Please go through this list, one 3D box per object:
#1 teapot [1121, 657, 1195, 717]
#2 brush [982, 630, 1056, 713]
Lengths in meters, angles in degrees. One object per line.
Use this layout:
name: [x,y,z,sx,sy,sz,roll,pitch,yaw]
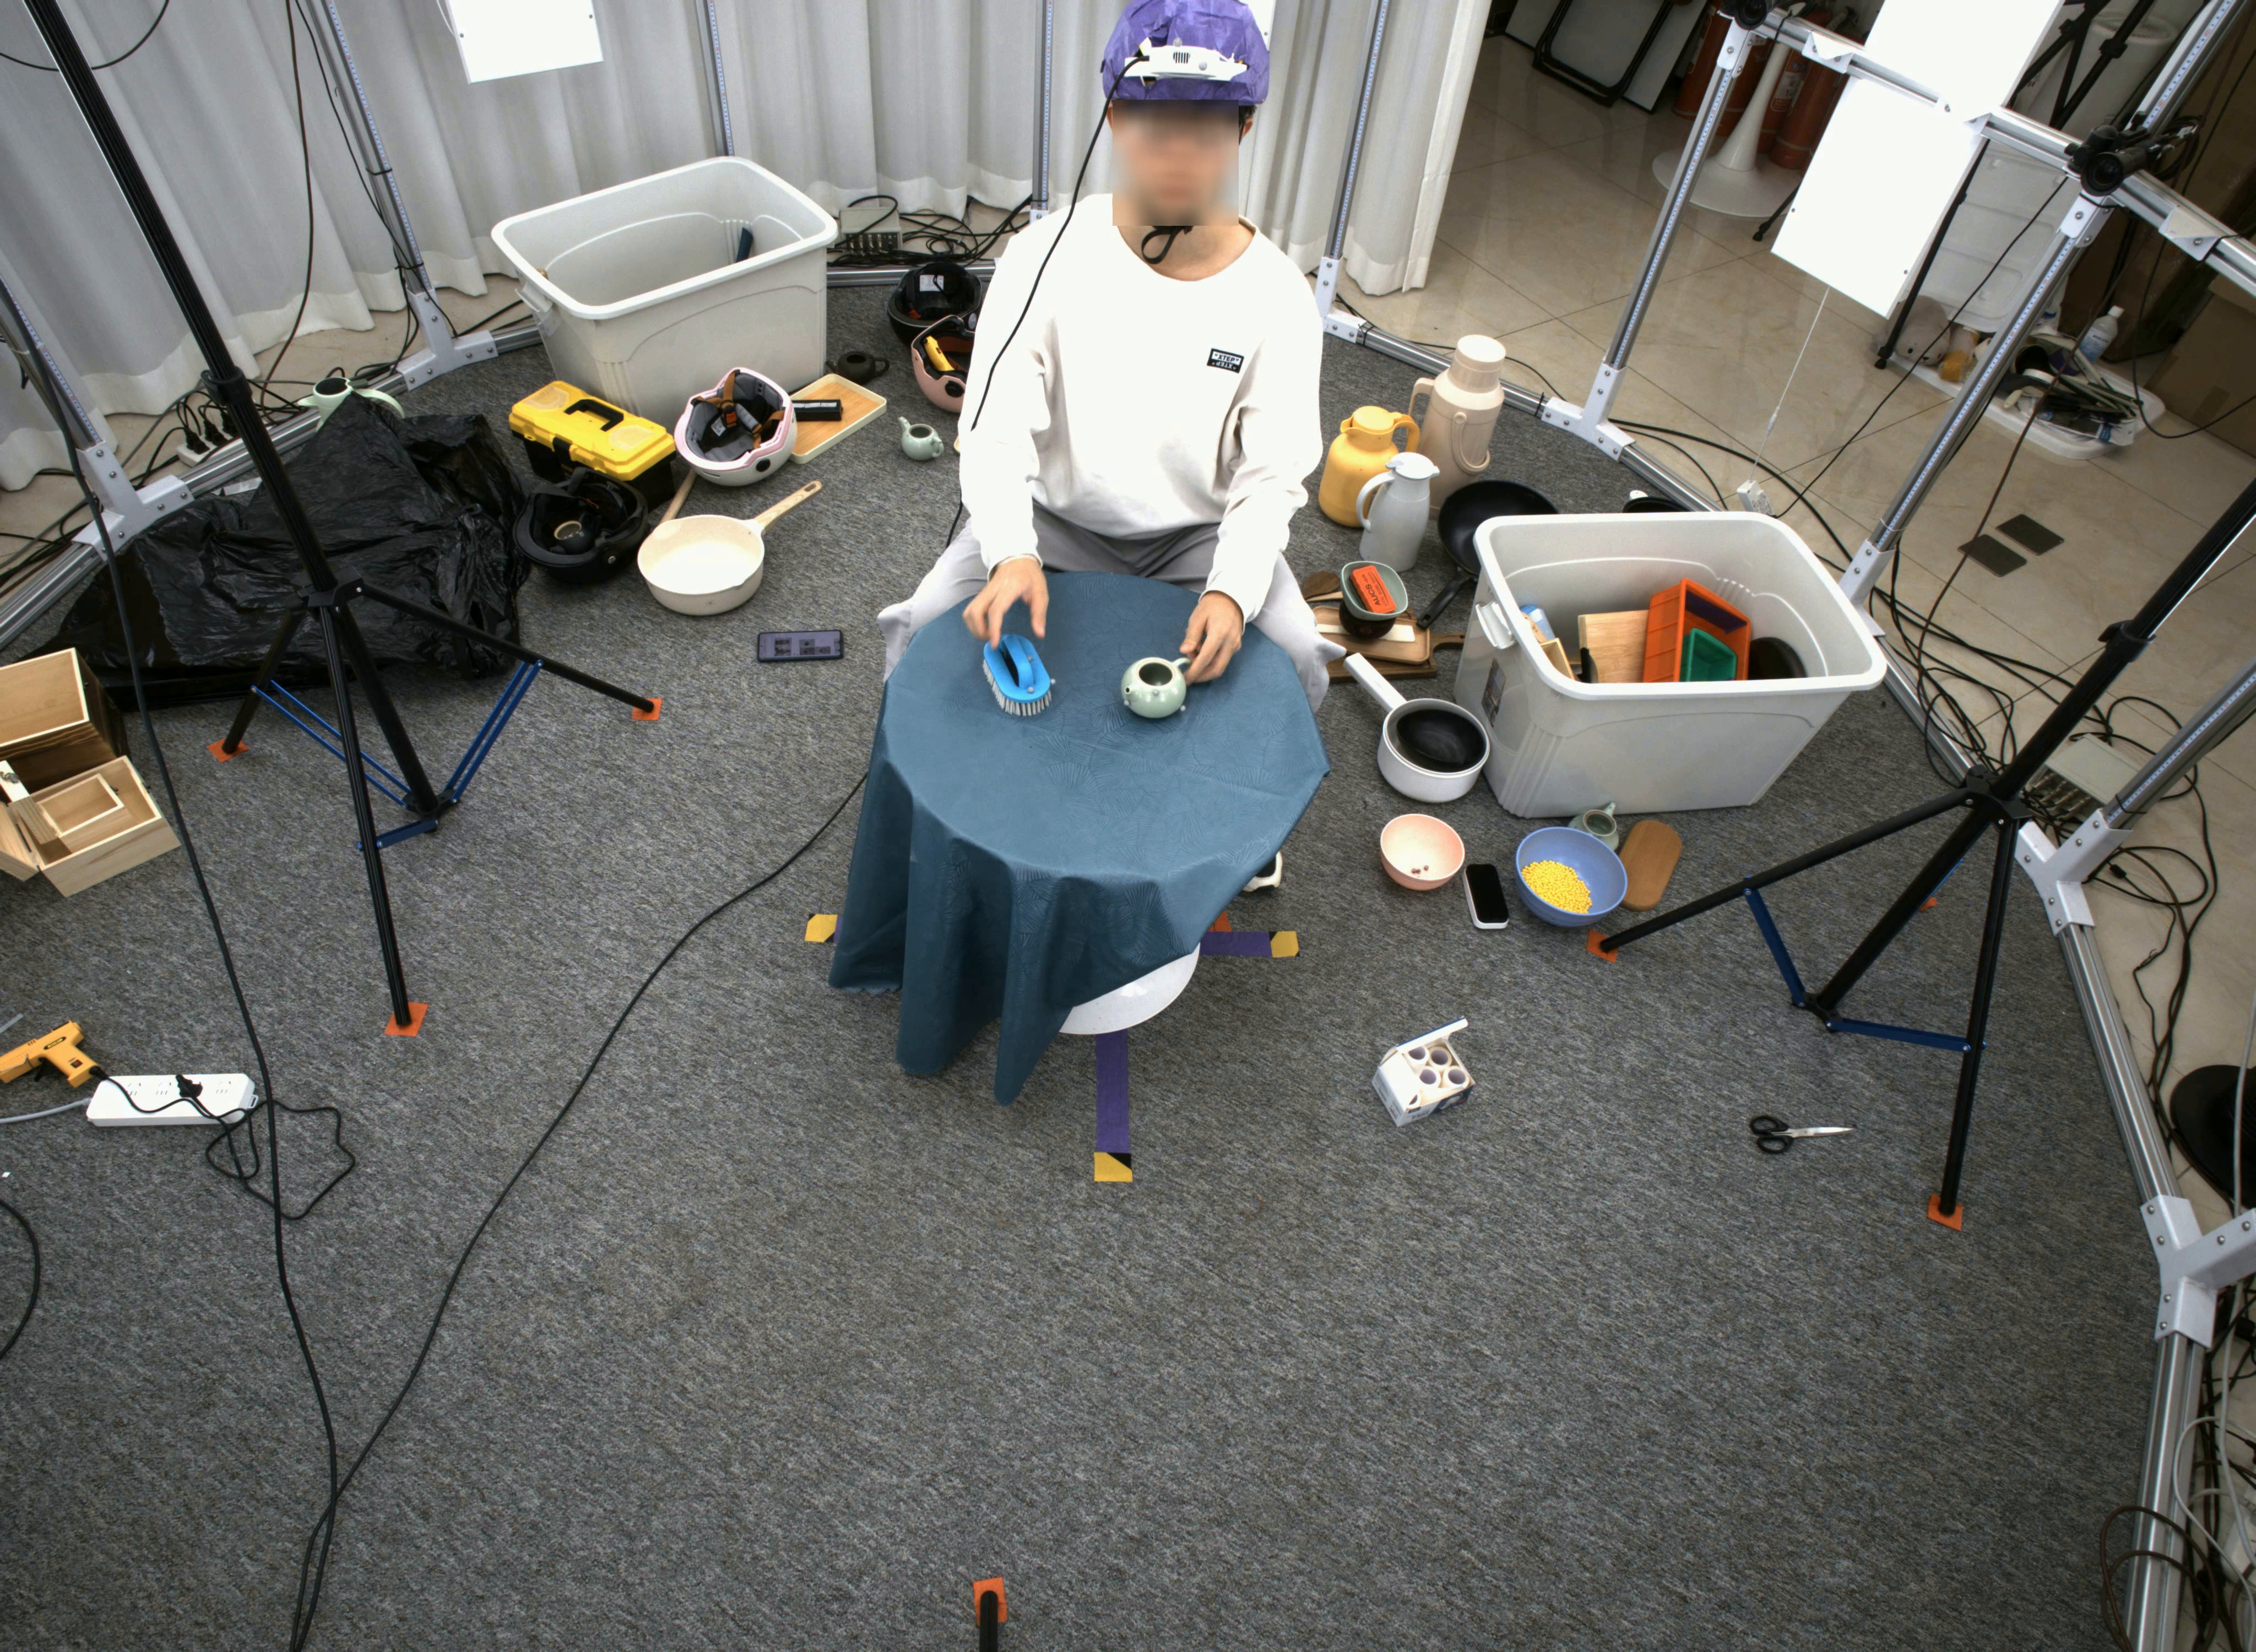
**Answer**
teapot: [0.044,-0.199,1.802,0.129,0.059,0.093,-27,54,-26]
brush: [-0.156,-0.228,1.808,0.084,0.062,0.145,-17,52,-12]
